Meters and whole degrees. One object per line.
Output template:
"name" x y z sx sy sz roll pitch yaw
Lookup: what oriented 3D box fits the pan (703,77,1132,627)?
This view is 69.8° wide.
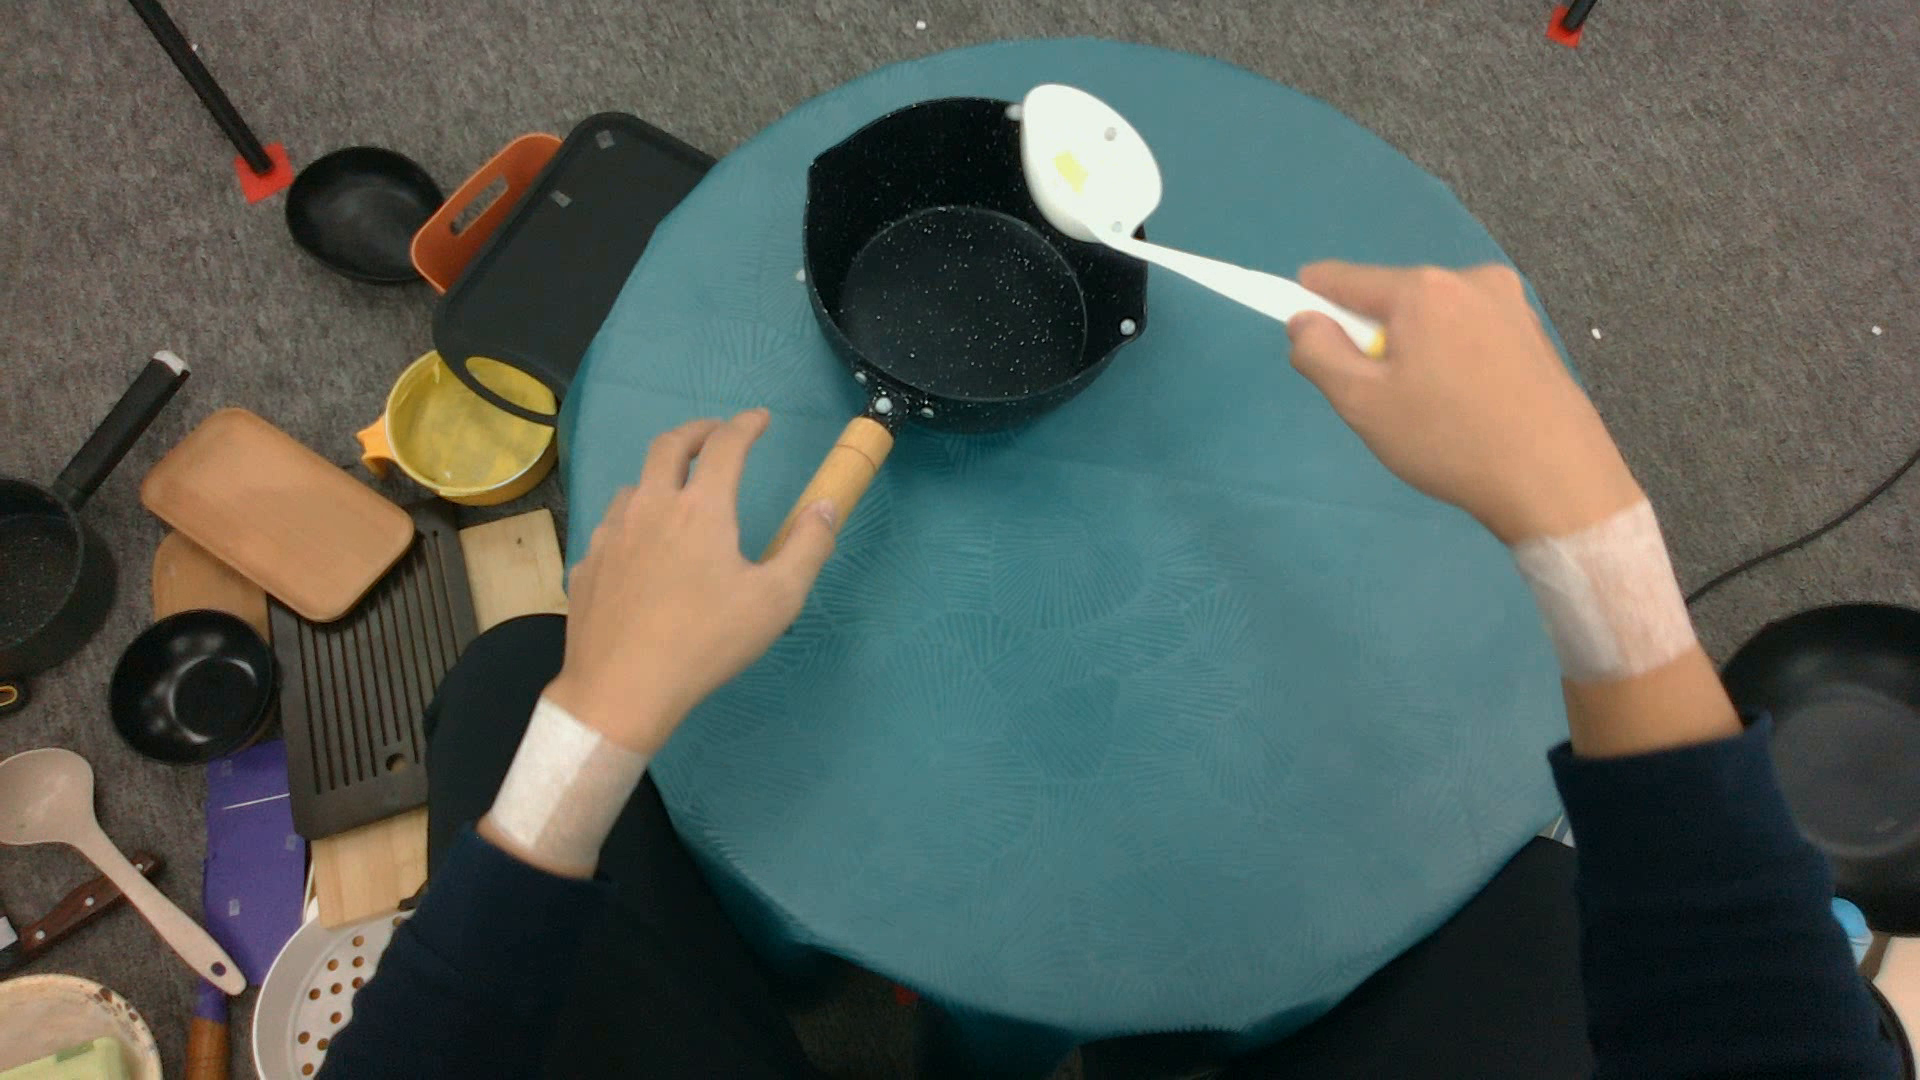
"pan" -0.037 -0.090 0.730 0.207 0.108 0.344 26 69 2

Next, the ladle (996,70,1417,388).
"ladle" 0.102 -0.149 0.624 0.090 0.293 0.070 22 103 -36
